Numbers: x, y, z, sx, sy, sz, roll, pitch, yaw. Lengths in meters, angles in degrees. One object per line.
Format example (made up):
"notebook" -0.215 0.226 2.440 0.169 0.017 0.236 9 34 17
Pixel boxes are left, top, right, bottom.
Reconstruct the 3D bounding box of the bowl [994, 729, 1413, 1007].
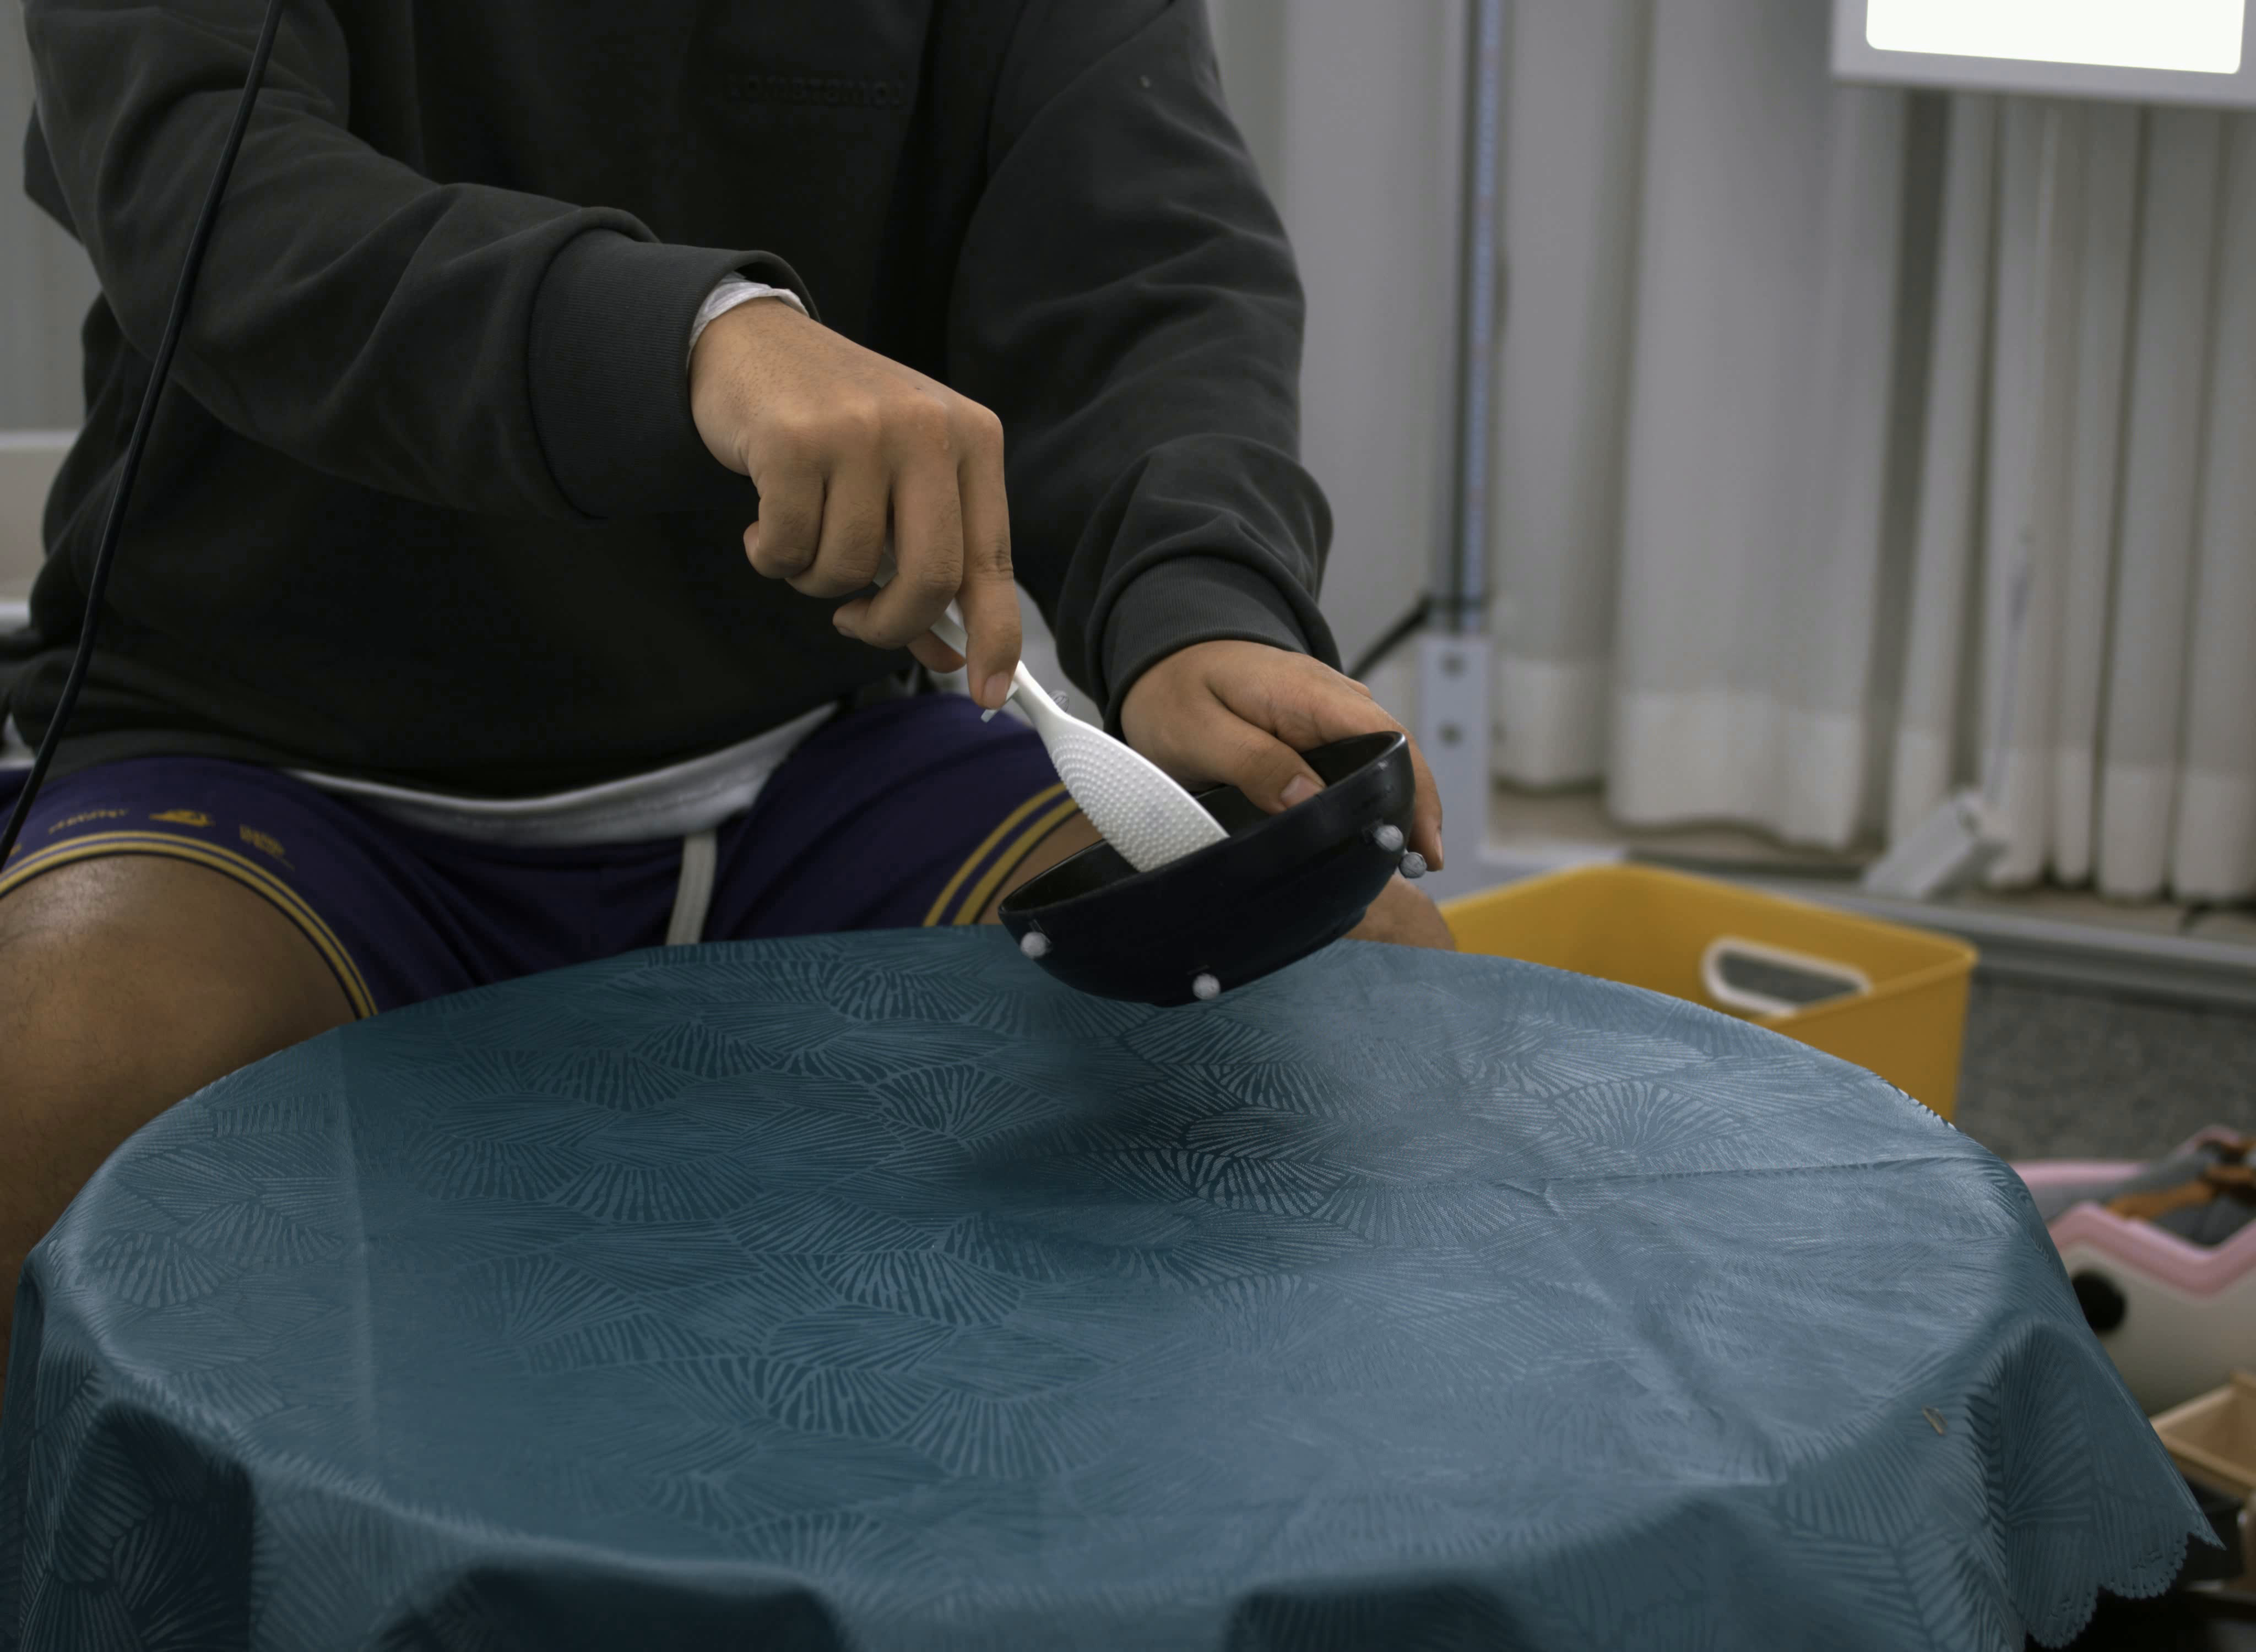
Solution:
"bowl" 0.031 0.020 1.638 0.139 0.050 0.139 -23 6 3

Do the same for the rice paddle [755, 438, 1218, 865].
"rice paddle" -0.032 -0.040 1.638 0.029 0.205 0.069 -47 2 -18
